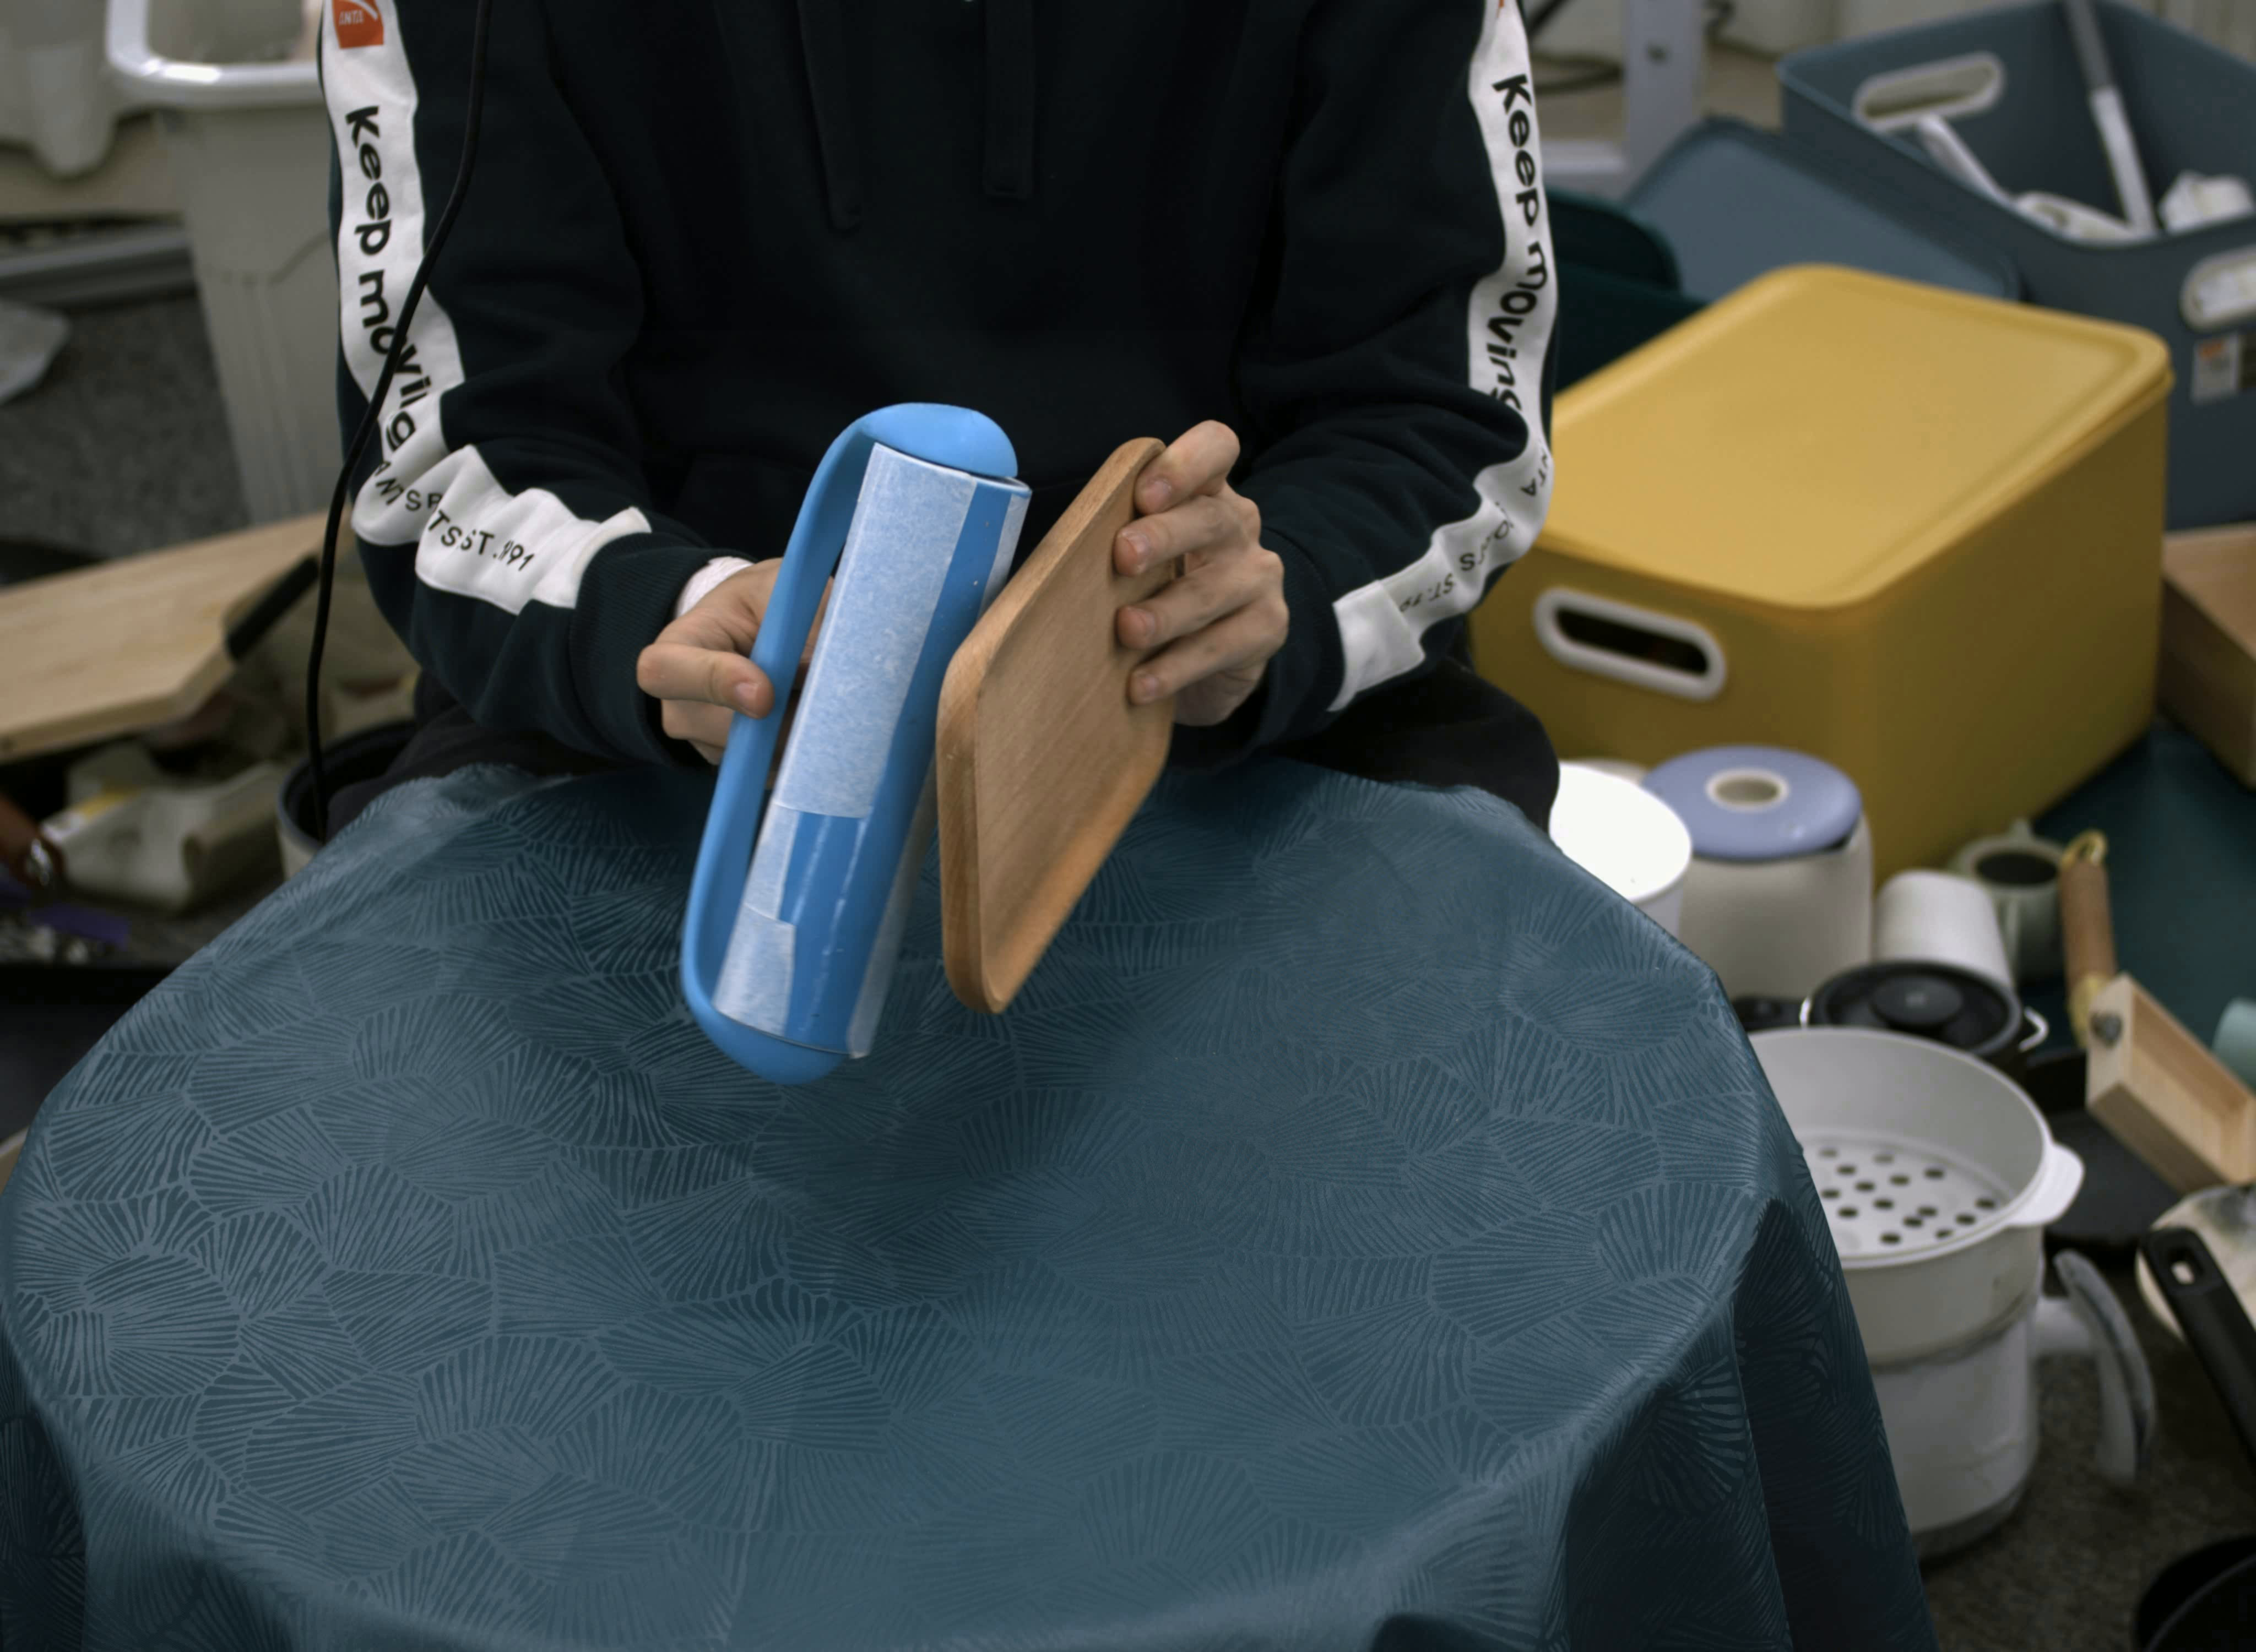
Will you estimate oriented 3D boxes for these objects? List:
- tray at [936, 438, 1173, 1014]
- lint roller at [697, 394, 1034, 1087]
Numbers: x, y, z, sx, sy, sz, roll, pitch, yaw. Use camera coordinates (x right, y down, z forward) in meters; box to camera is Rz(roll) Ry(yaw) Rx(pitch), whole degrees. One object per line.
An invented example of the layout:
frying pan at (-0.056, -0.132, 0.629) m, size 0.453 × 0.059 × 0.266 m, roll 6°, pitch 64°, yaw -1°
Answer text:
tray at (-0.022, -0.037, 1.858) m, size 0.023 × 0.129 × 0.254 m, roll 8°, pitch 22°, yaw 12°
lint roller at (-0.097, -0.035, 1.874) m, size 0.068 × 0.229 × 0.180 m, roll 13°, pitch 4°, yaw -17°
